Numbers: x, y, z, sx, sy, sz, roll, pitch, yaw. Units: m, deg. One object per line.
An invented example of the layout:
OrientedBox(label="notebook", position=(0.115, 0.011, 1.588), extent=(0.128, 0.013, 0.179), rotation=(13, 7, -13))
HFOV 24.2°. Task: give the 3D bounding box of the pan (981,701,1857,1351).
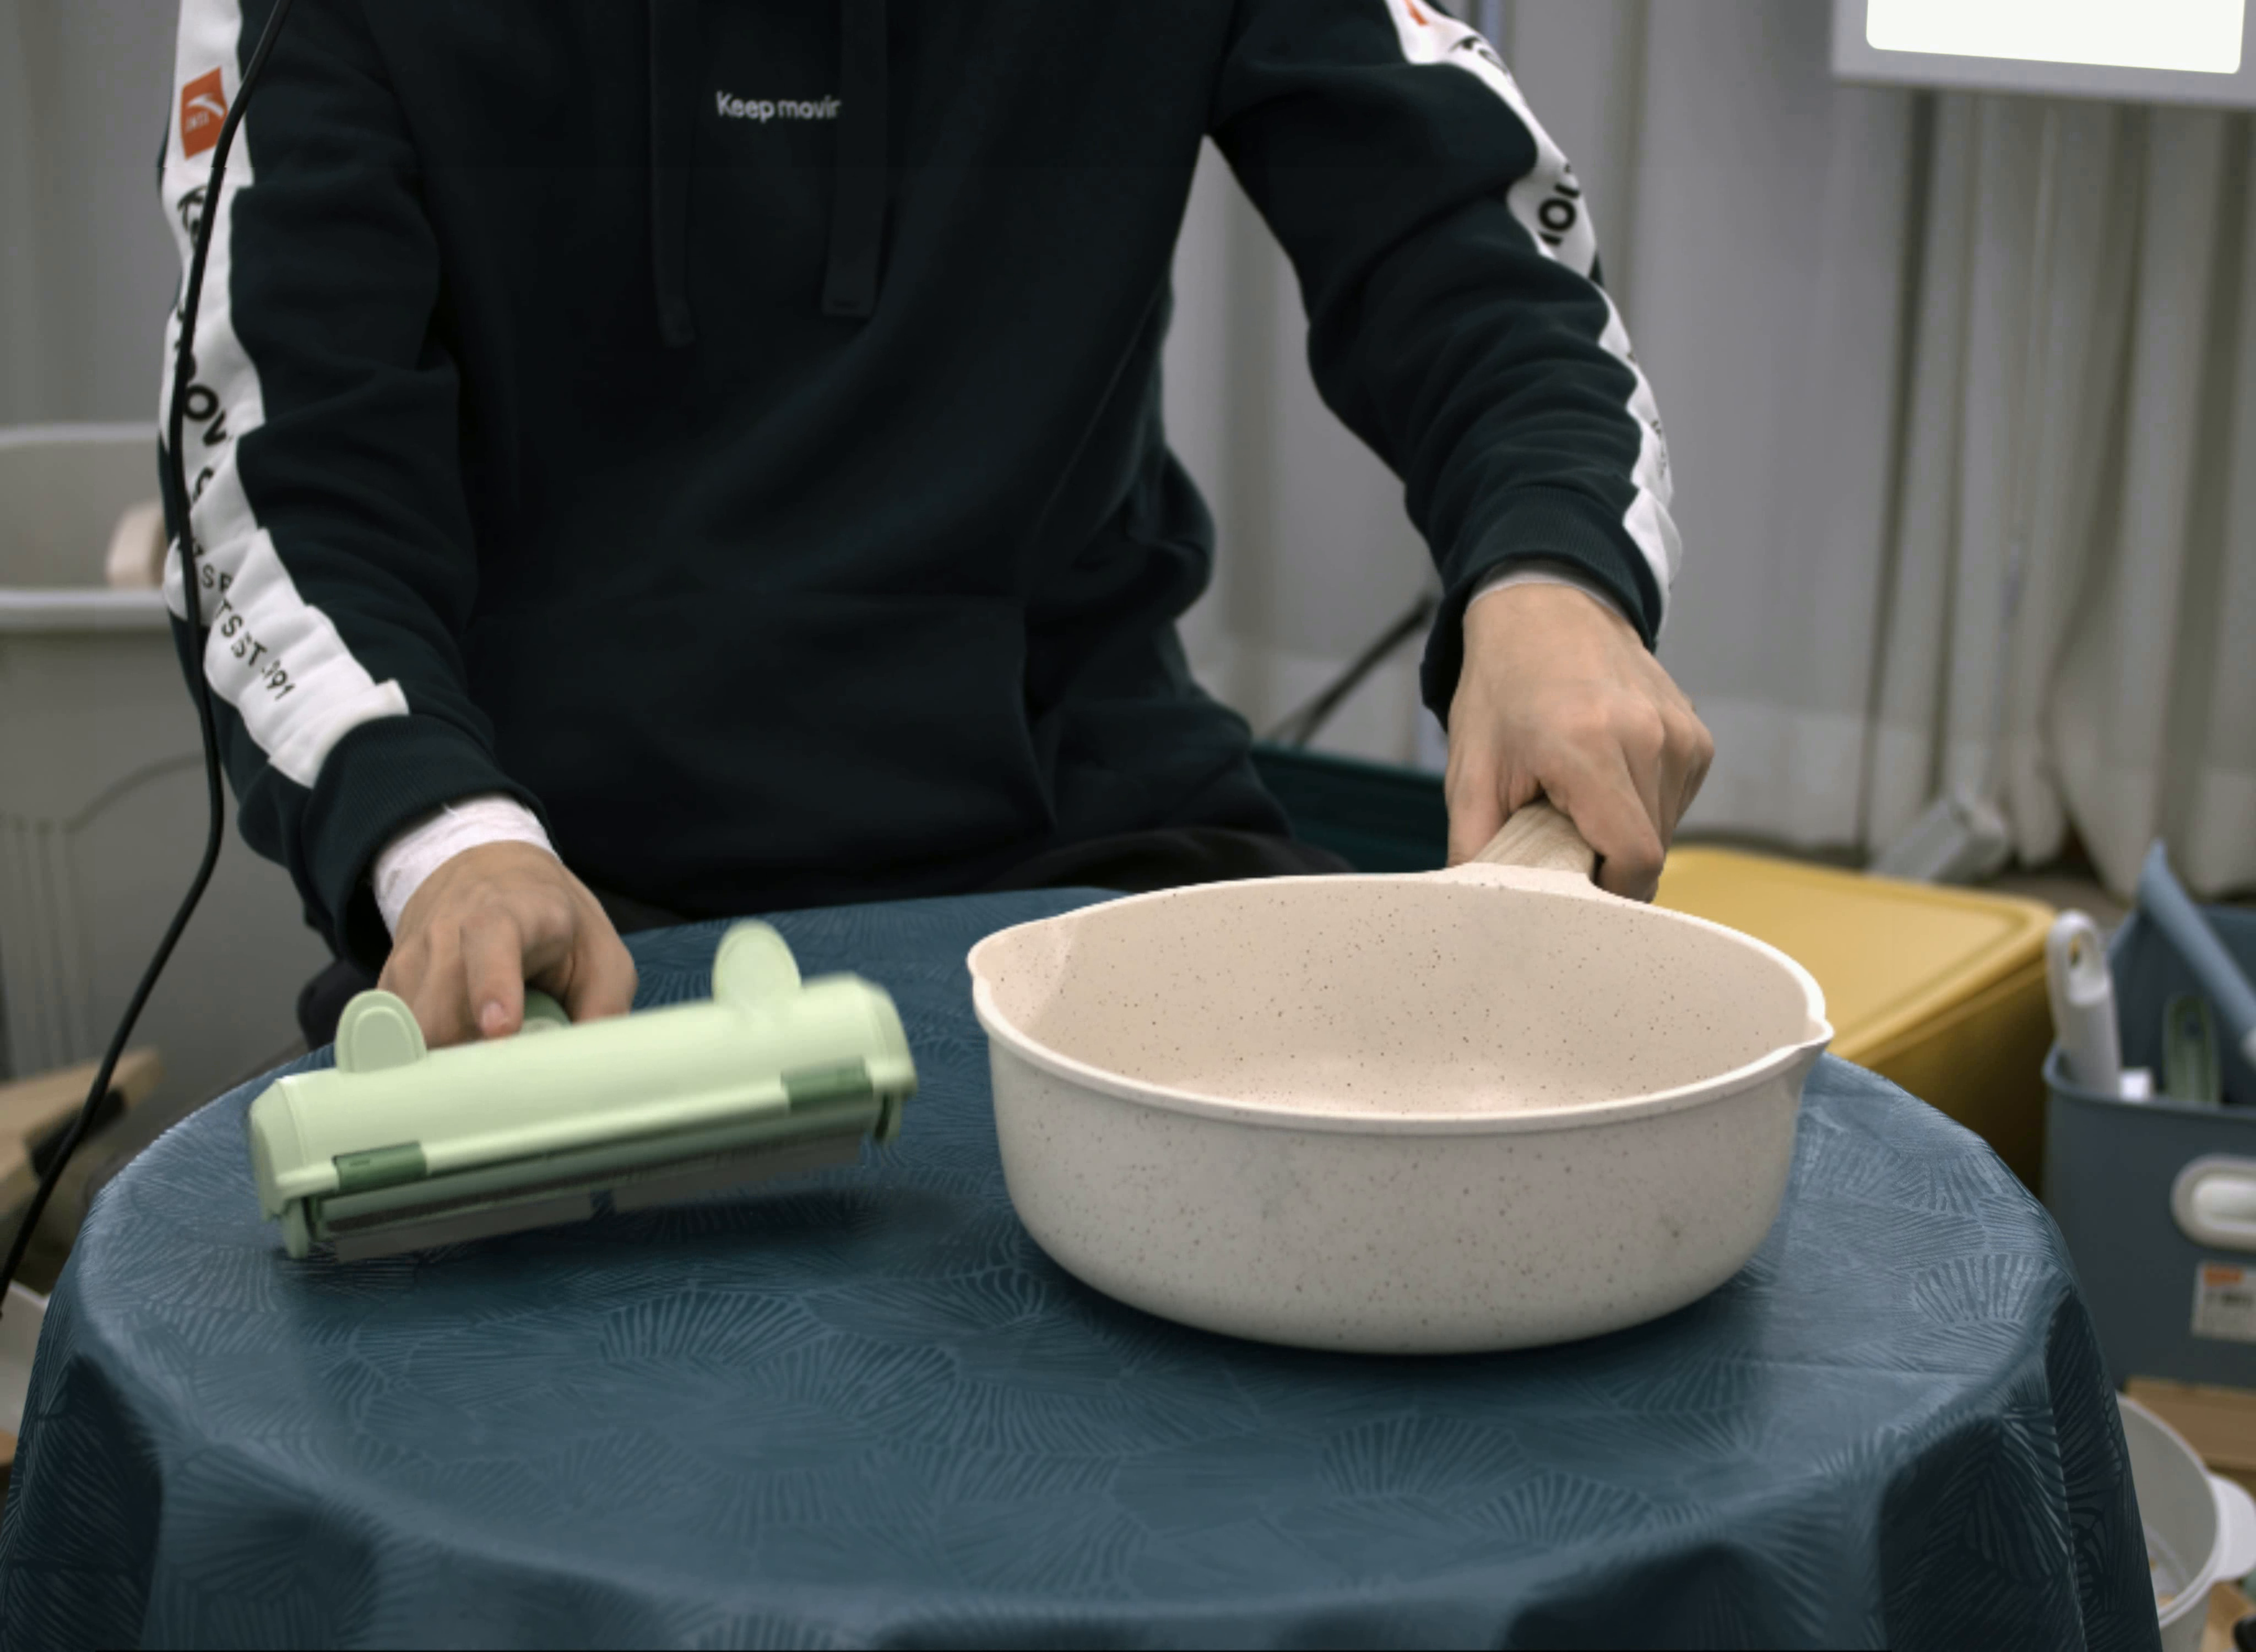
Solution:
OrientedBox(label="pan", position=(0.114, 0.057, 1.637), extent=(0.261, 0.103, 0.435), rotation=(4, 15, 18))

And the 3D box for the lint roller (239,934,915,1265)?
OrientedBox(label="lint roller", position=(-0.182, 0.062, 1.611), extent=(0.199, 0.083, 0.181), rotation=(-8, 25, -18))
